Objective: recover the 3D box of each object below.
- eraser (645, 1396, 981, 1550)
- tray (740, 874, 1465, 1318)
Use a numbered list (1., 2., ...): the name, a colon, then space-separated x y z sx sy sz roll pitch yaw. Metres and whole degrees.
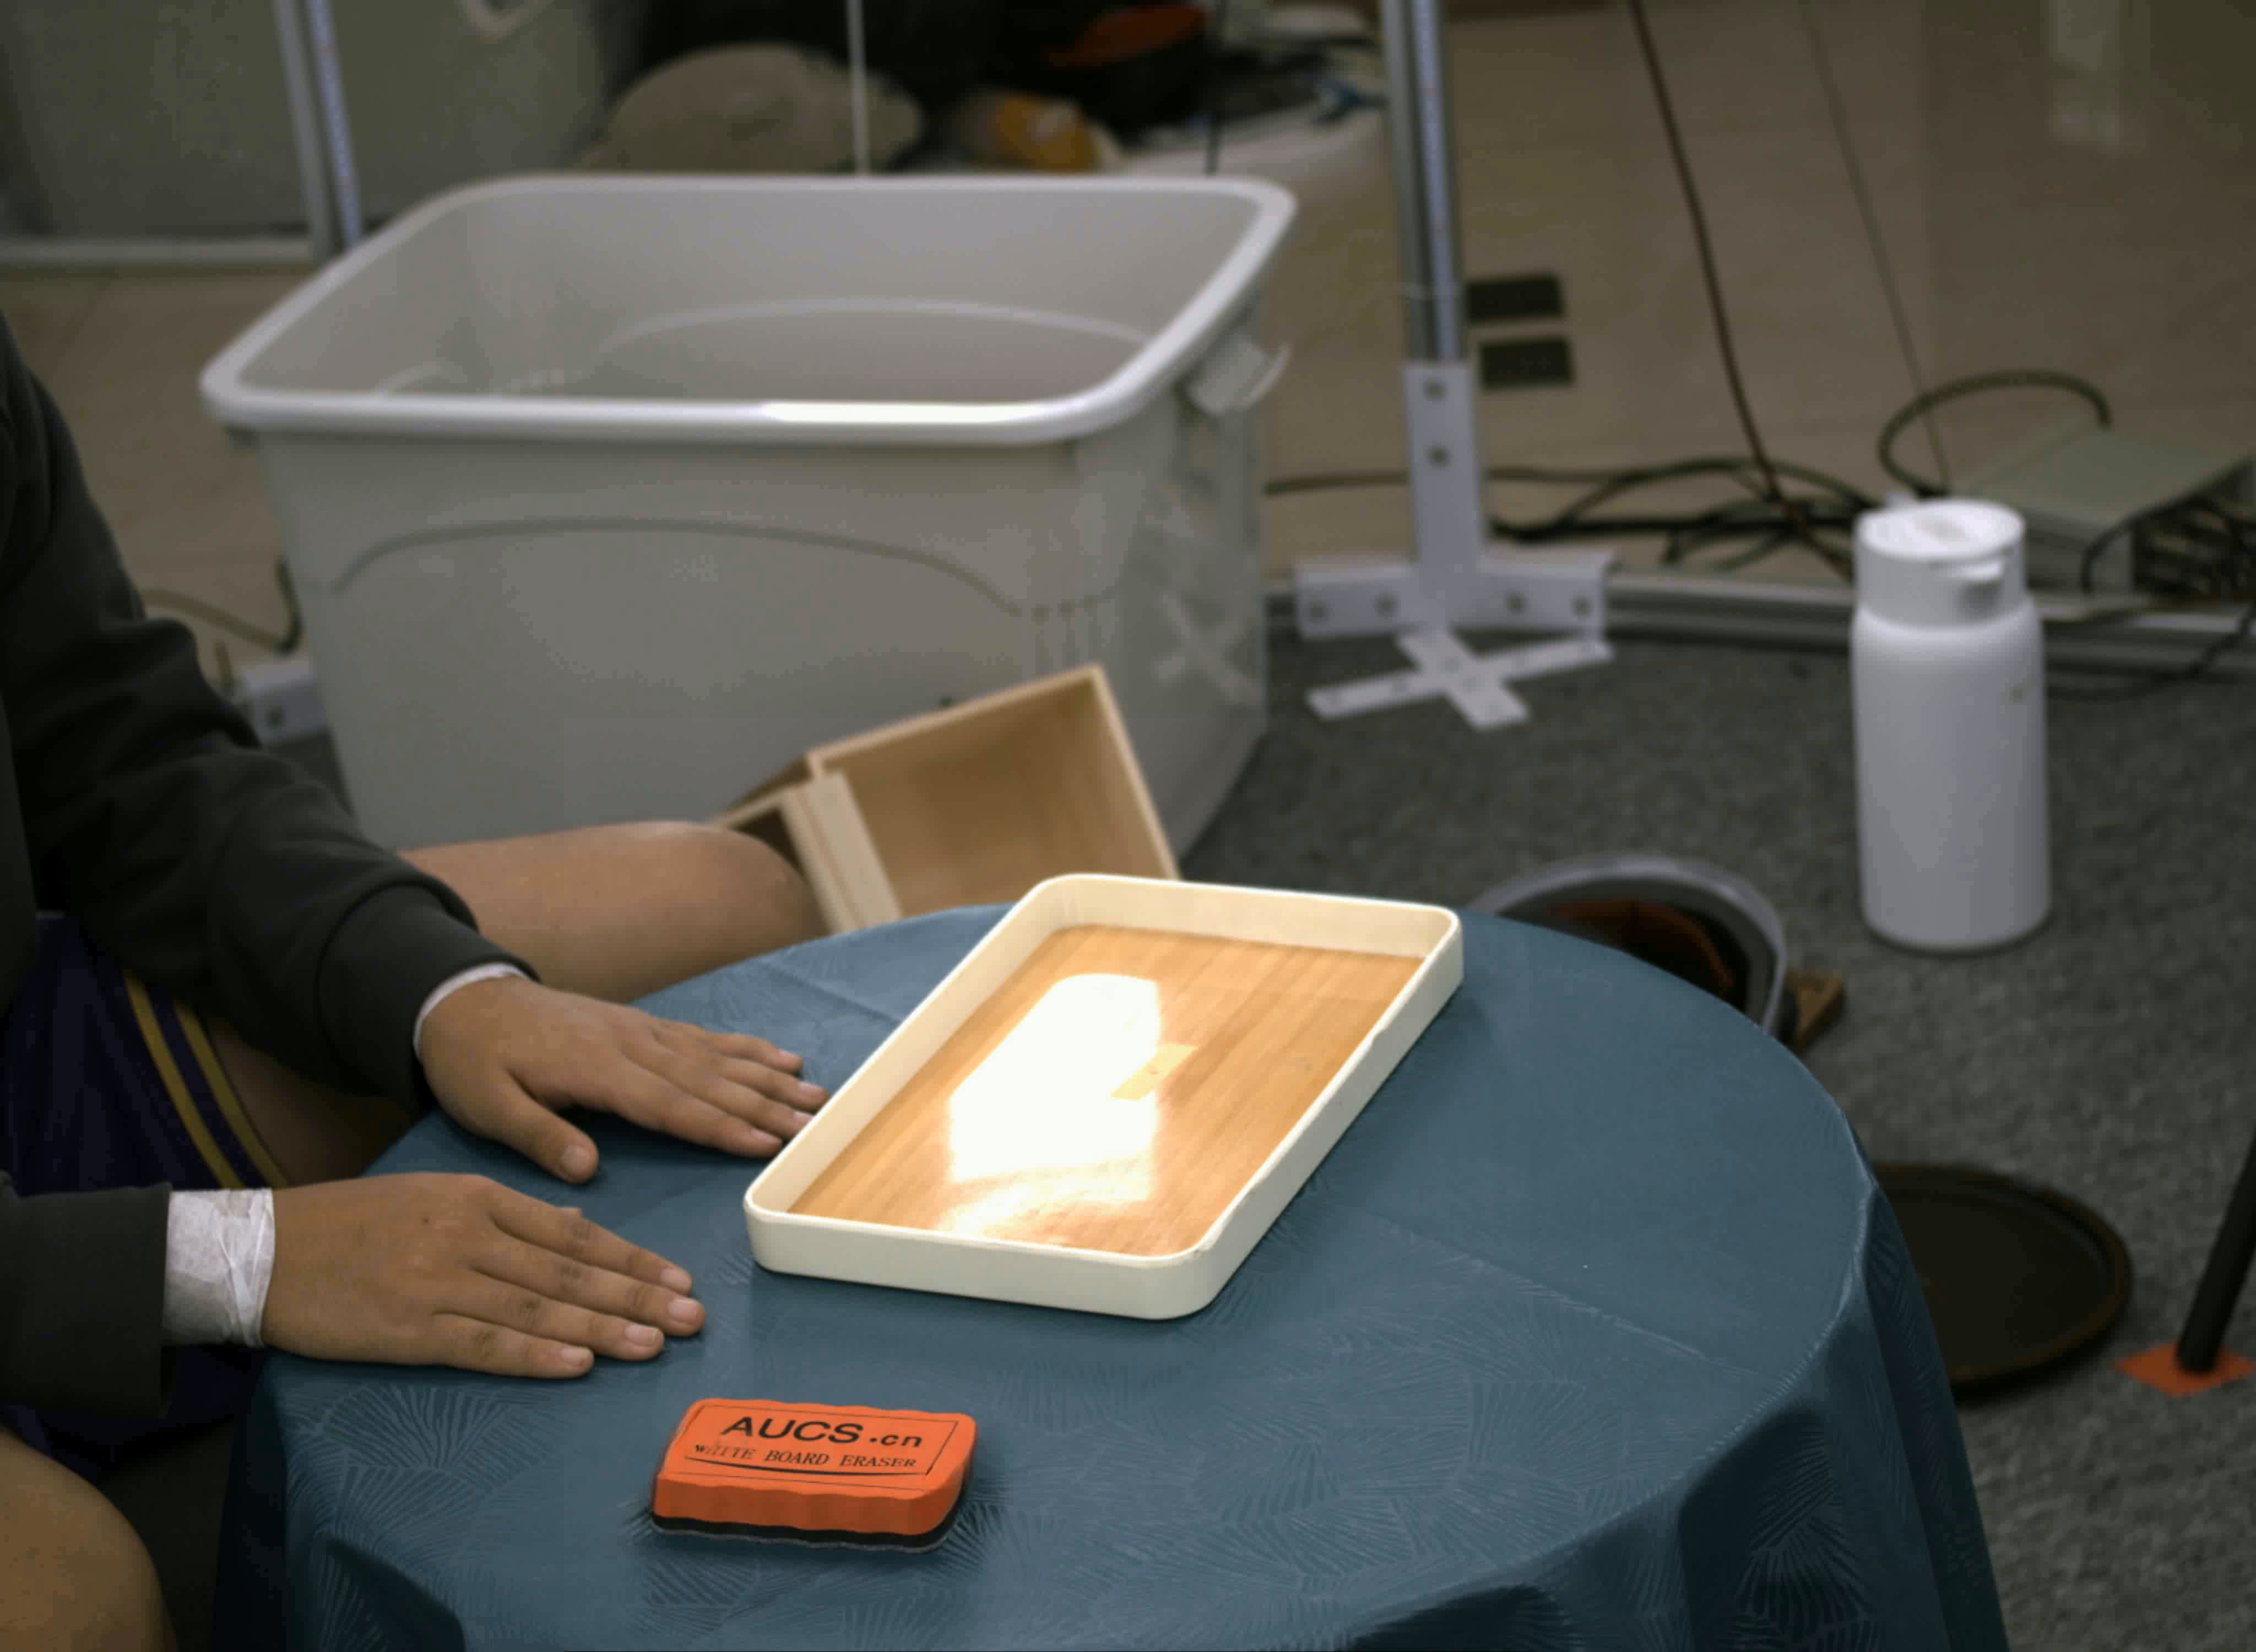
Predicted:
1. eraser: -0.109 0.223 1.963 0.108 0.023 0.058 2 28 18
2. tray: -0.005 0.100 2.200 0.191 0.028 0.296 5 27 24
